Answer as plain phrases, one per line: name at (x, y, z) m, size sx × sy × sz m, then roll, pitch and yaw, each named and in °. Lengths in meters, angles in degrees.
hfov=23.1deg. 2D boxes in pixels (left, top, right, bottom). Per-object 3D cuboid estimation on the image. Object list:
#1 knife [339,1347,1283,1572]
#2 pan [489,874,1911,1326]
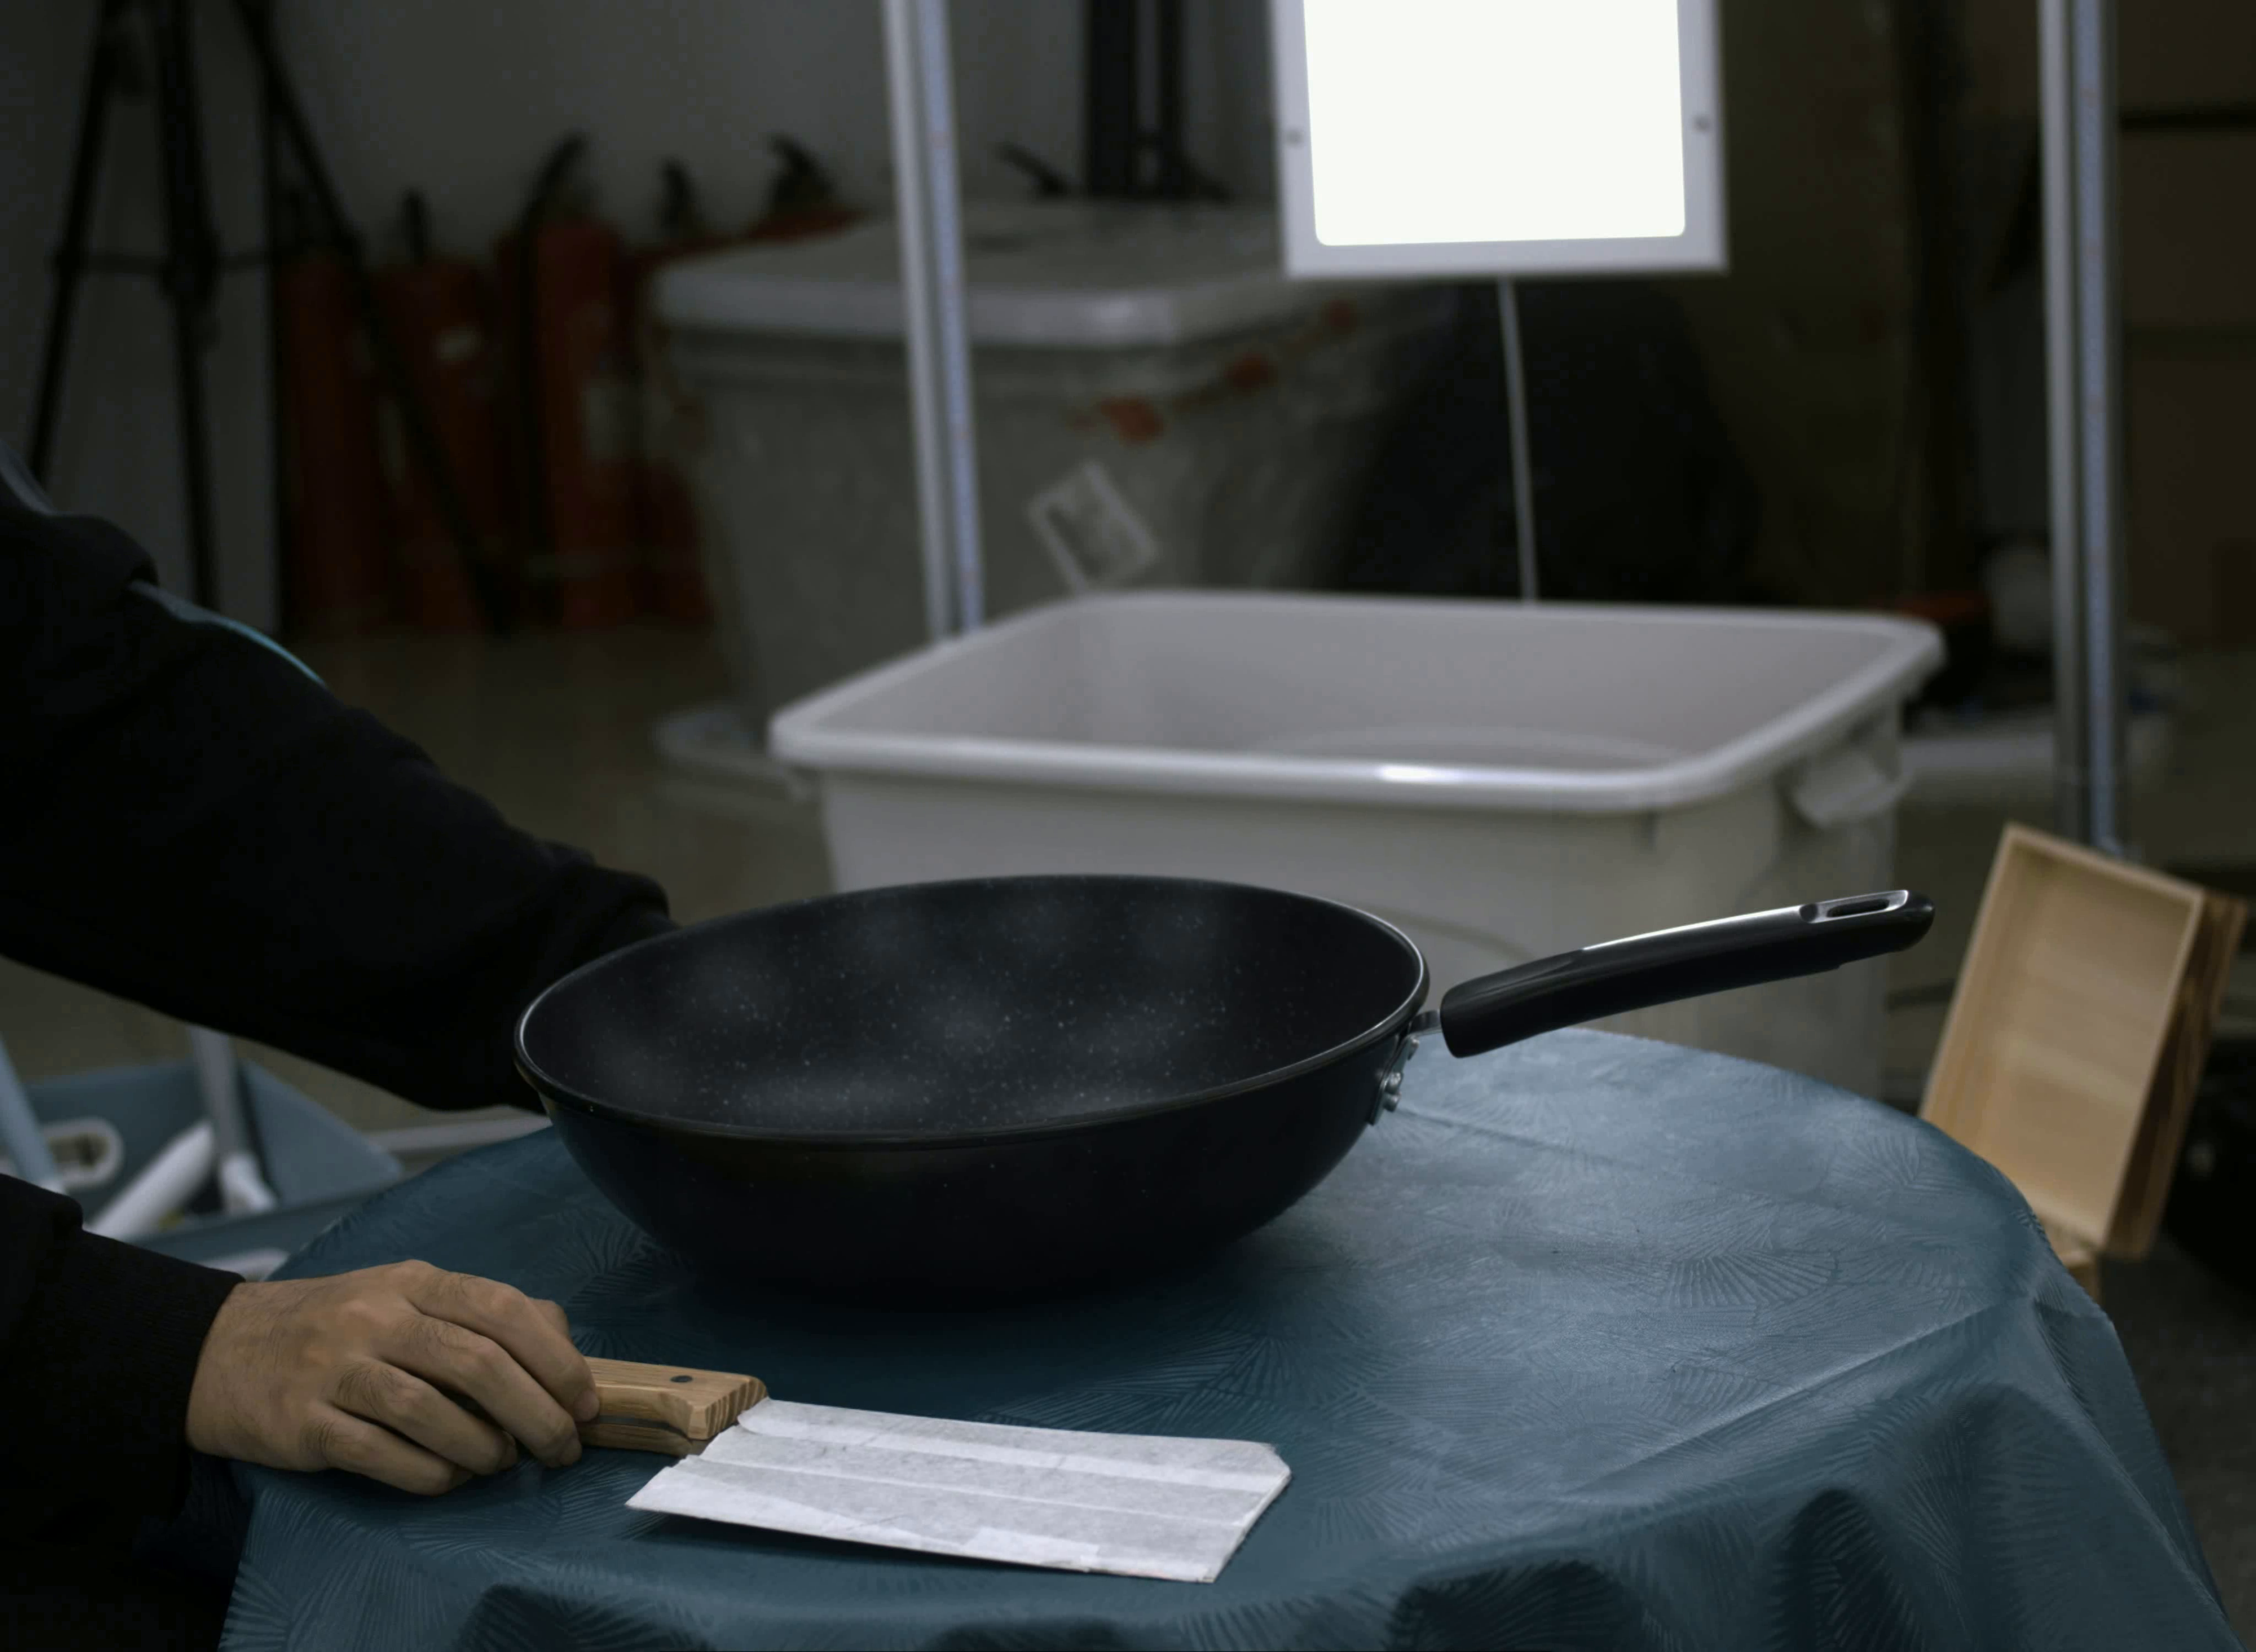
knife at (-0.099, 0.187, 1.650) m, size 0.321 × 0.022 × 0.111 m, roll 5°, pitch 18°, yaw 27°
pan at (0.024, 0.086, 1.833) m, size 0.481 × 0.112 × 0.306 m, roll -2°, pitch 16°, yaw 14°
